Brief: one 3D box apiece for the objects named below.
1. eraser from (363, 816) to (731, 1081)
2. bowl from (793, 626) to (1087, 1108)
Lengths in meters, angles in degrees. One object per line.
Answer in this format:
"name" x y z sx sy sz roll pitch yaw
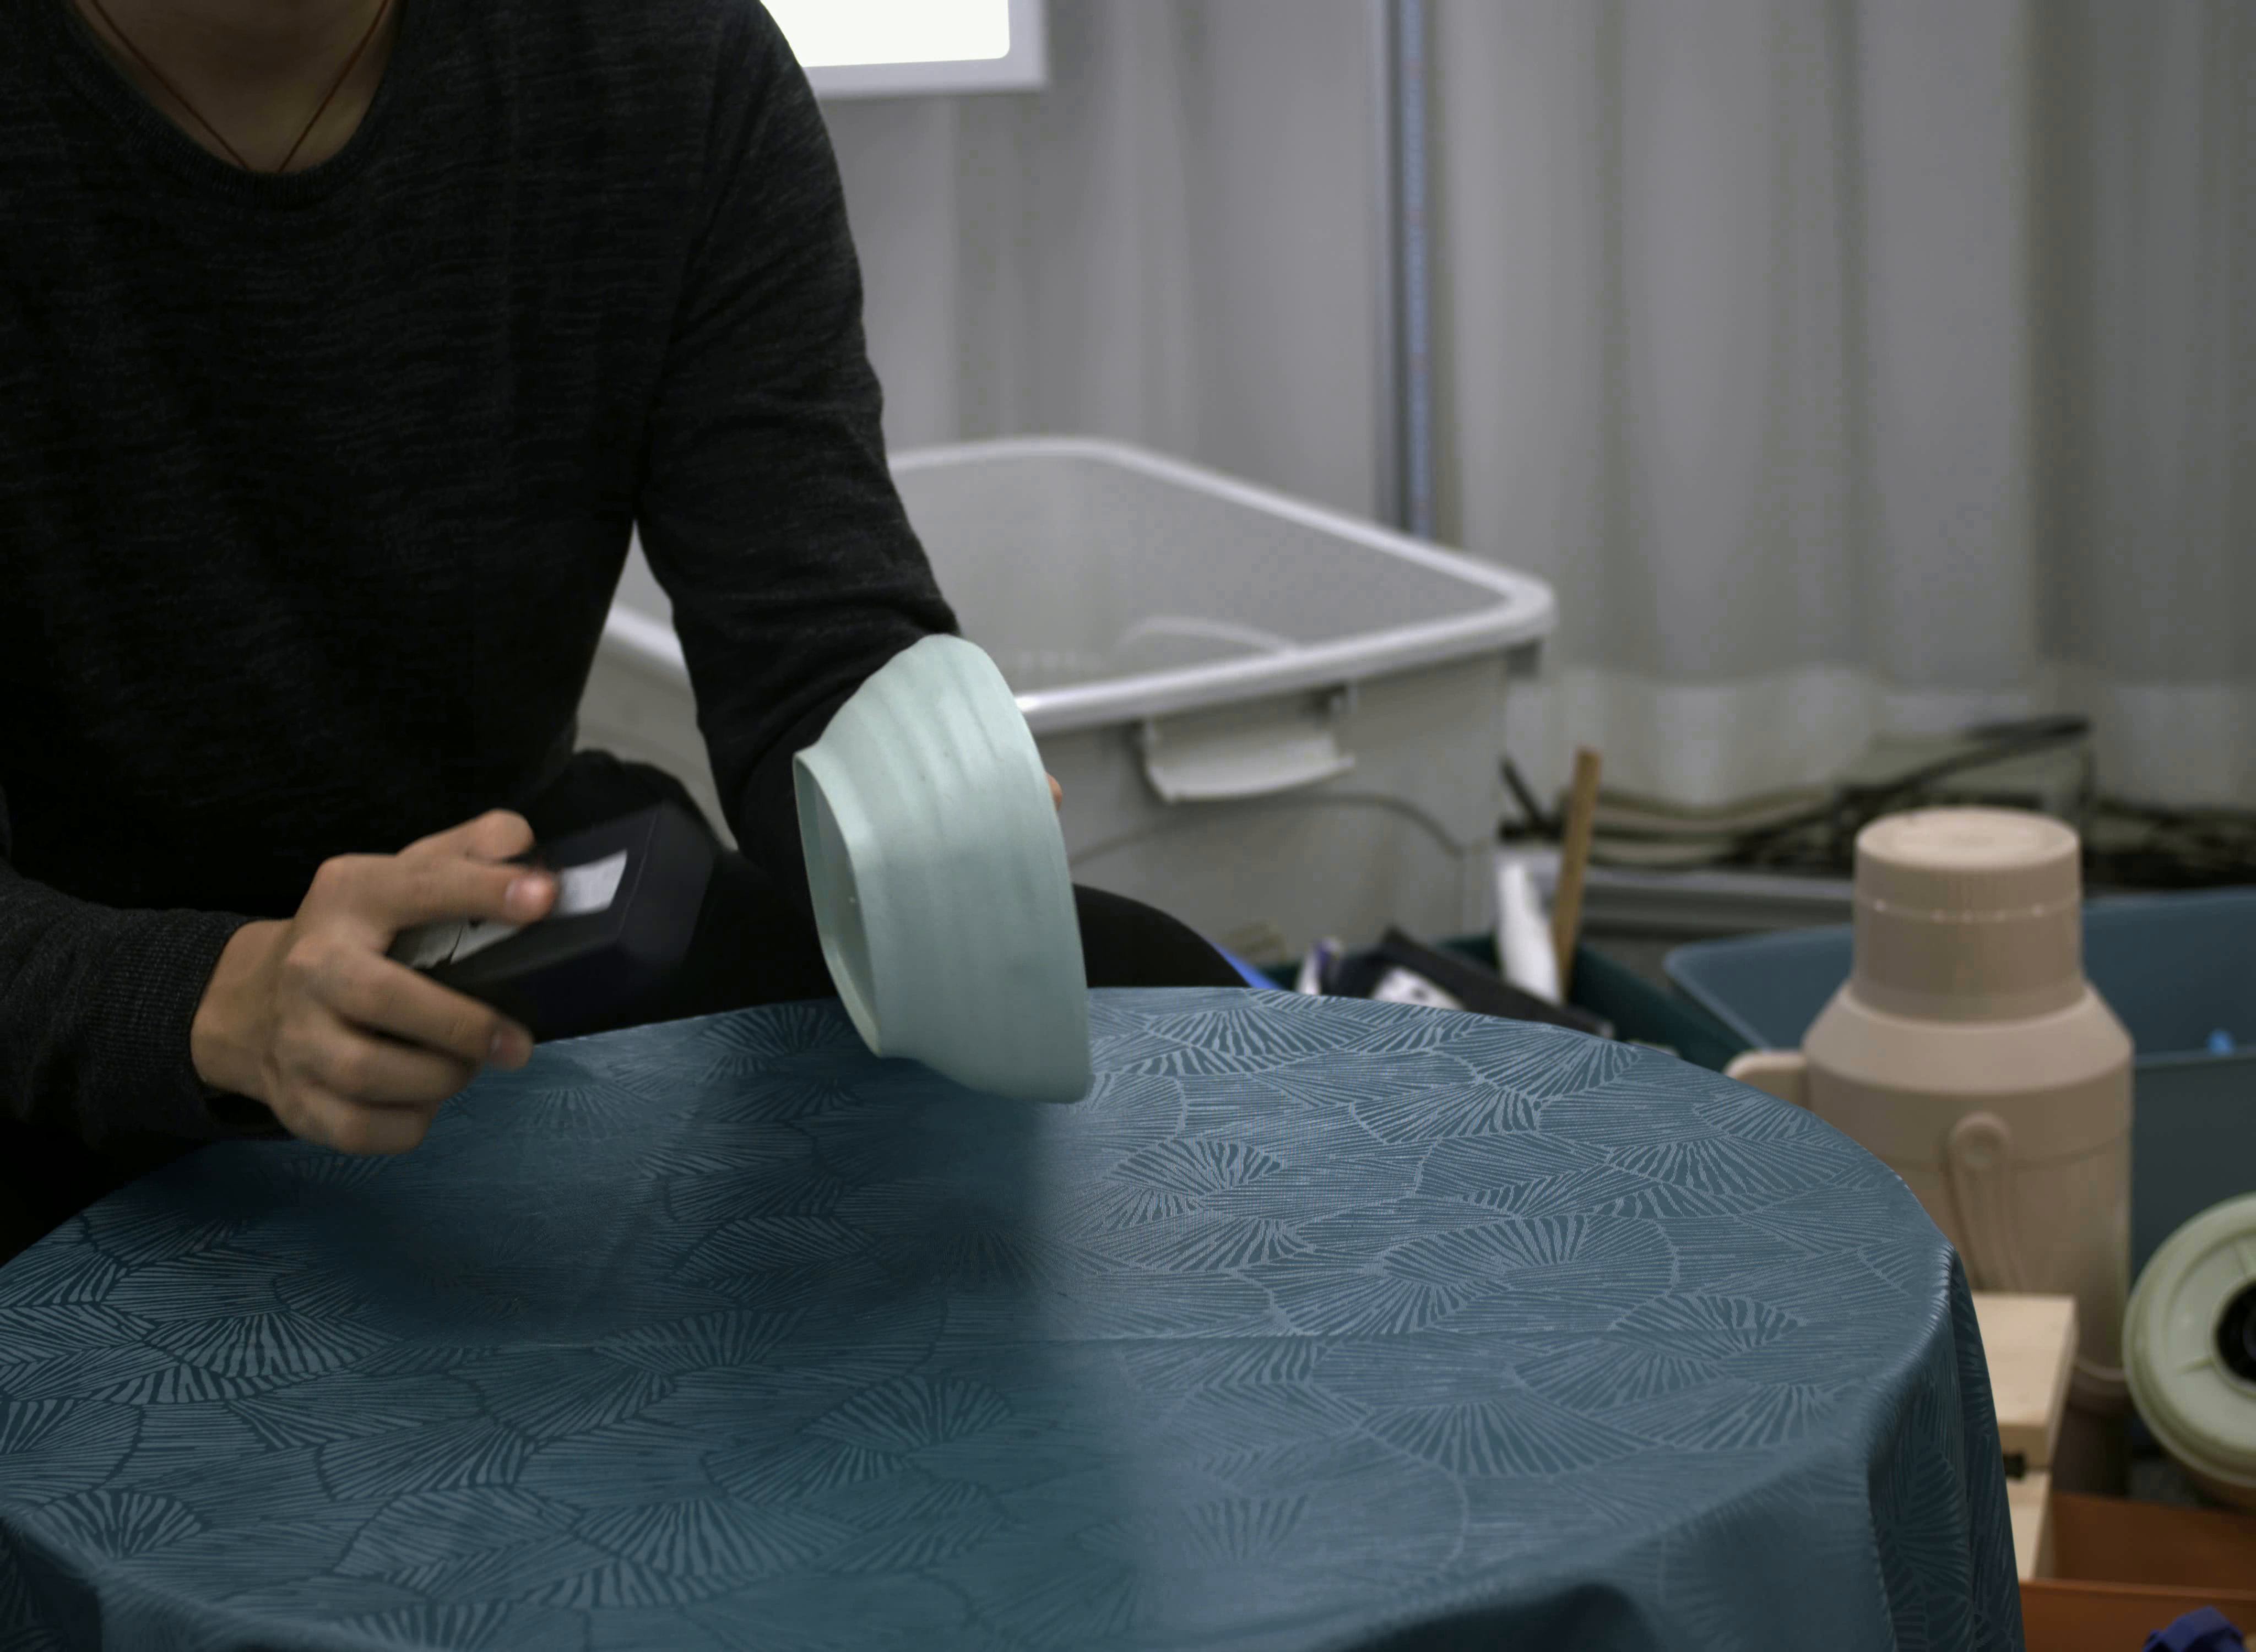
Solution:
"eraser" -0.171 0.036 1.605 0.125 0.030 0.054 -18 42 43
"bowl" -0.060 0.018 1.634 0.058 0.151 0.152 -13 16 -11
